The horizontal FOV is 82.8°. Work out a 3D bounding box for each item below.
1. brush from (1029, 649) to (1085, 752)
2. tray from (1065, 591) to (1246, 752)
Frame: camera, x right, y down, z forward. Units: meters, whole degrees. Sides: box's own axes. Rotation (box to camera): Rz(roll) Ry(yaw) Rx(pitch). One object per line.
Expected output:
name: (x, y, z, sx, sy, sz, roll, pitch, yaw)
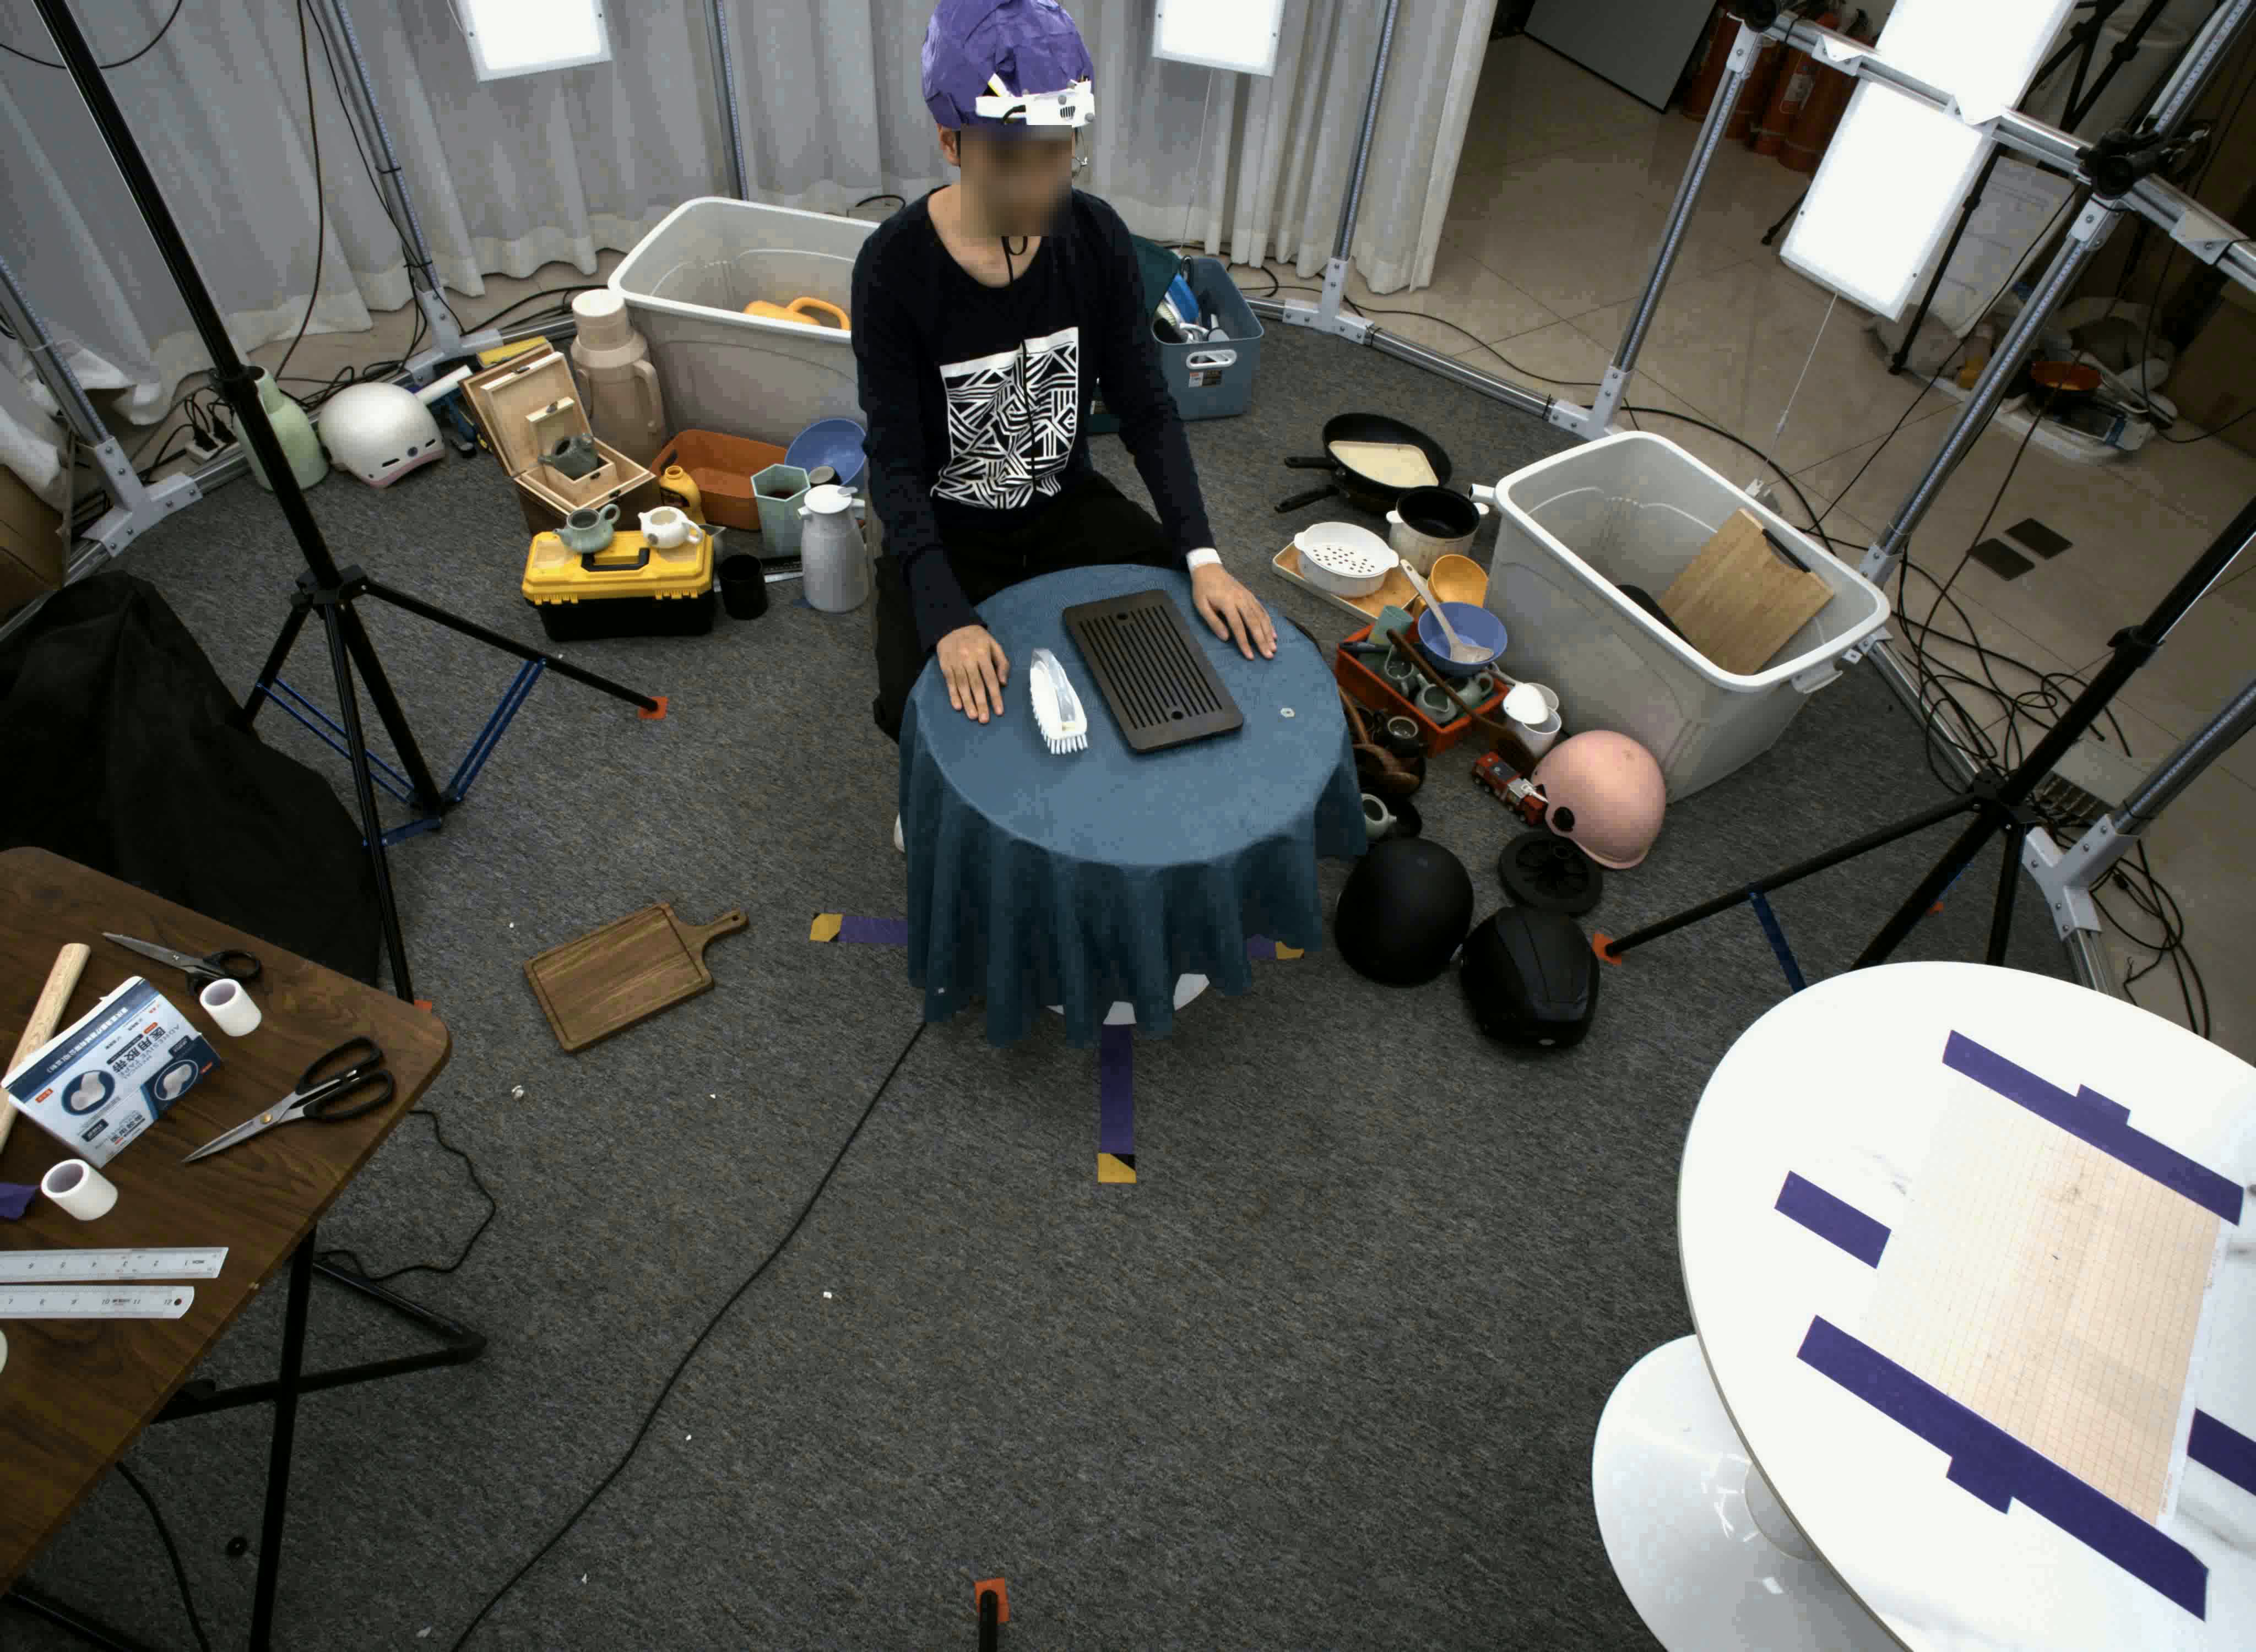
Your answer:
brush: (-0.106, -0.190, 1.768, 0.061, 0.092, 0.180, -11, 48, -13)
tray: (0.035, -0.228, 1.857, 0.170, 0.018, 0.313, -14, 51, -15)
